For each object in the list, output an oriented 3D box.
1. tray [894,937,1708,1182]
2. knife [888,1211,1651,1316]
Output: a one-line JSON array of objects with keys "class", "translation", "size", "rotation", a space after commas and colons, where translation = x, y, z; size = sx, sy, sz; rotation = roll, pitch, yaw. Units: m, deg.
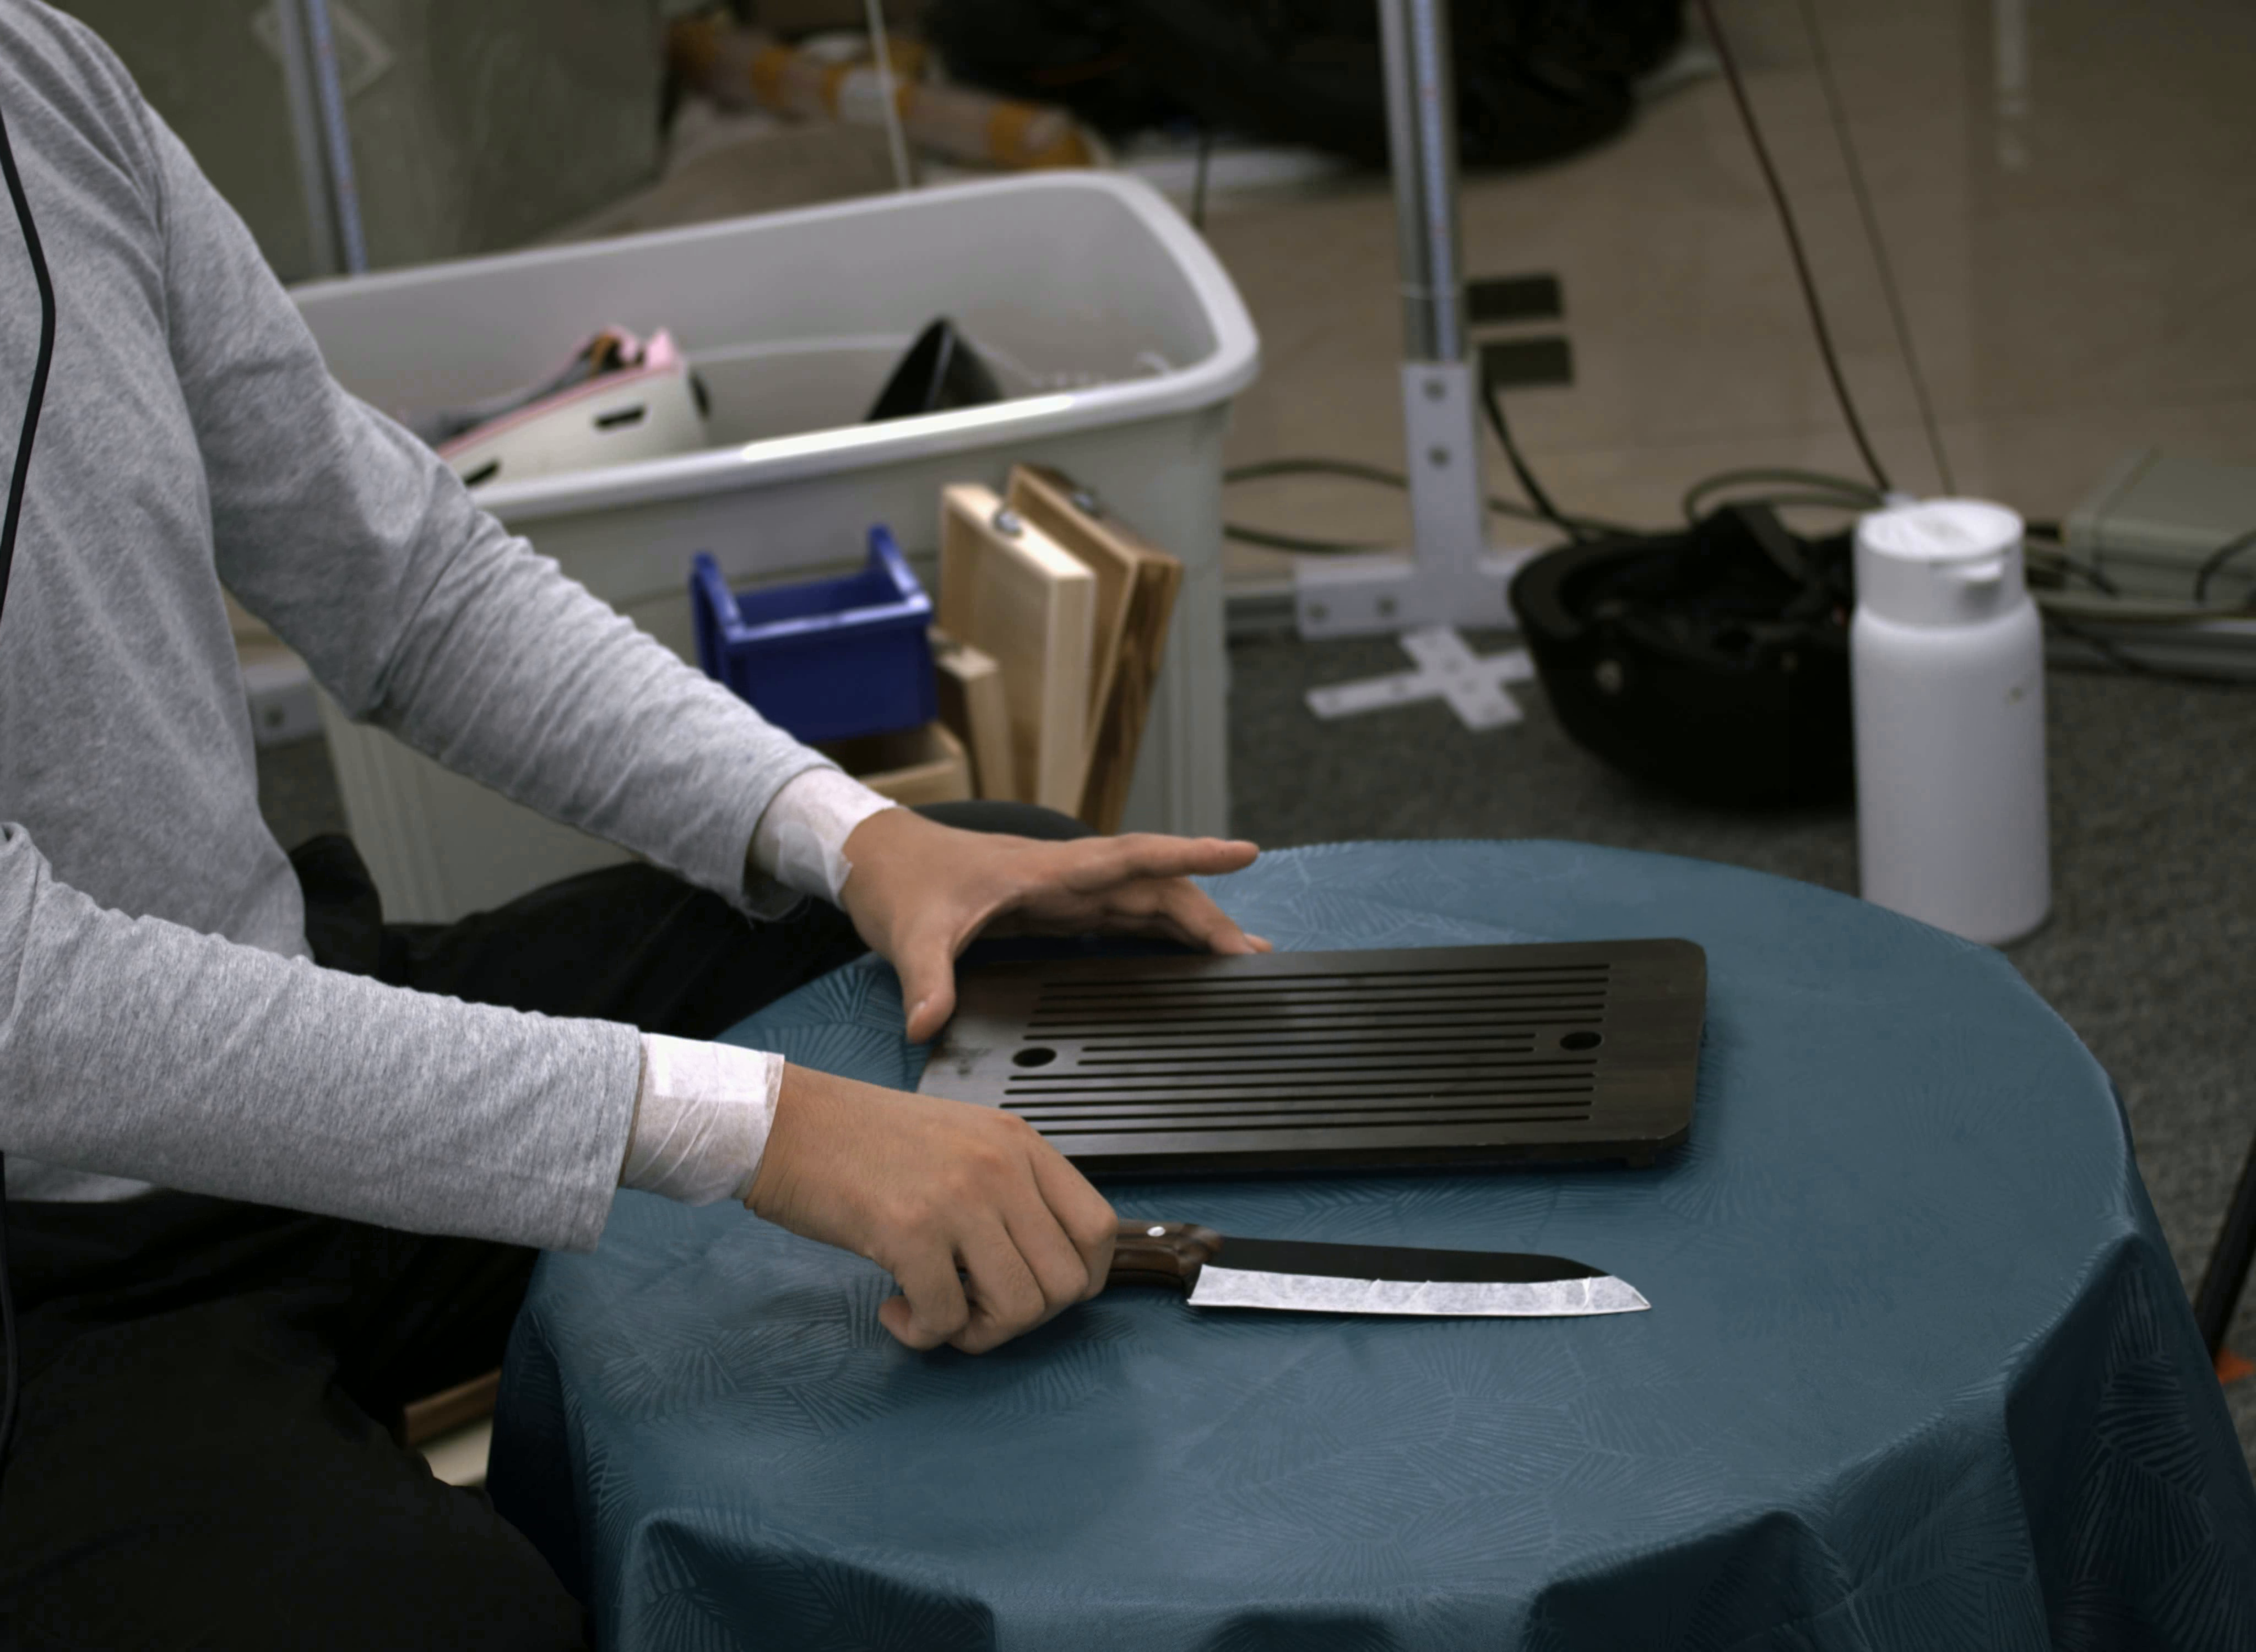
[{"class": "tray", "translation": [0.070, 0.092, 2.215], "size": [0.305, 0.019, 0.167], "rotation": [-2, 25, 10]}, {"class": "knife", "translation": [0.049, 0.162, 2.072], "size": [0.288, 0.020, 0.049], "rotation": [3, 32, 14]}]
